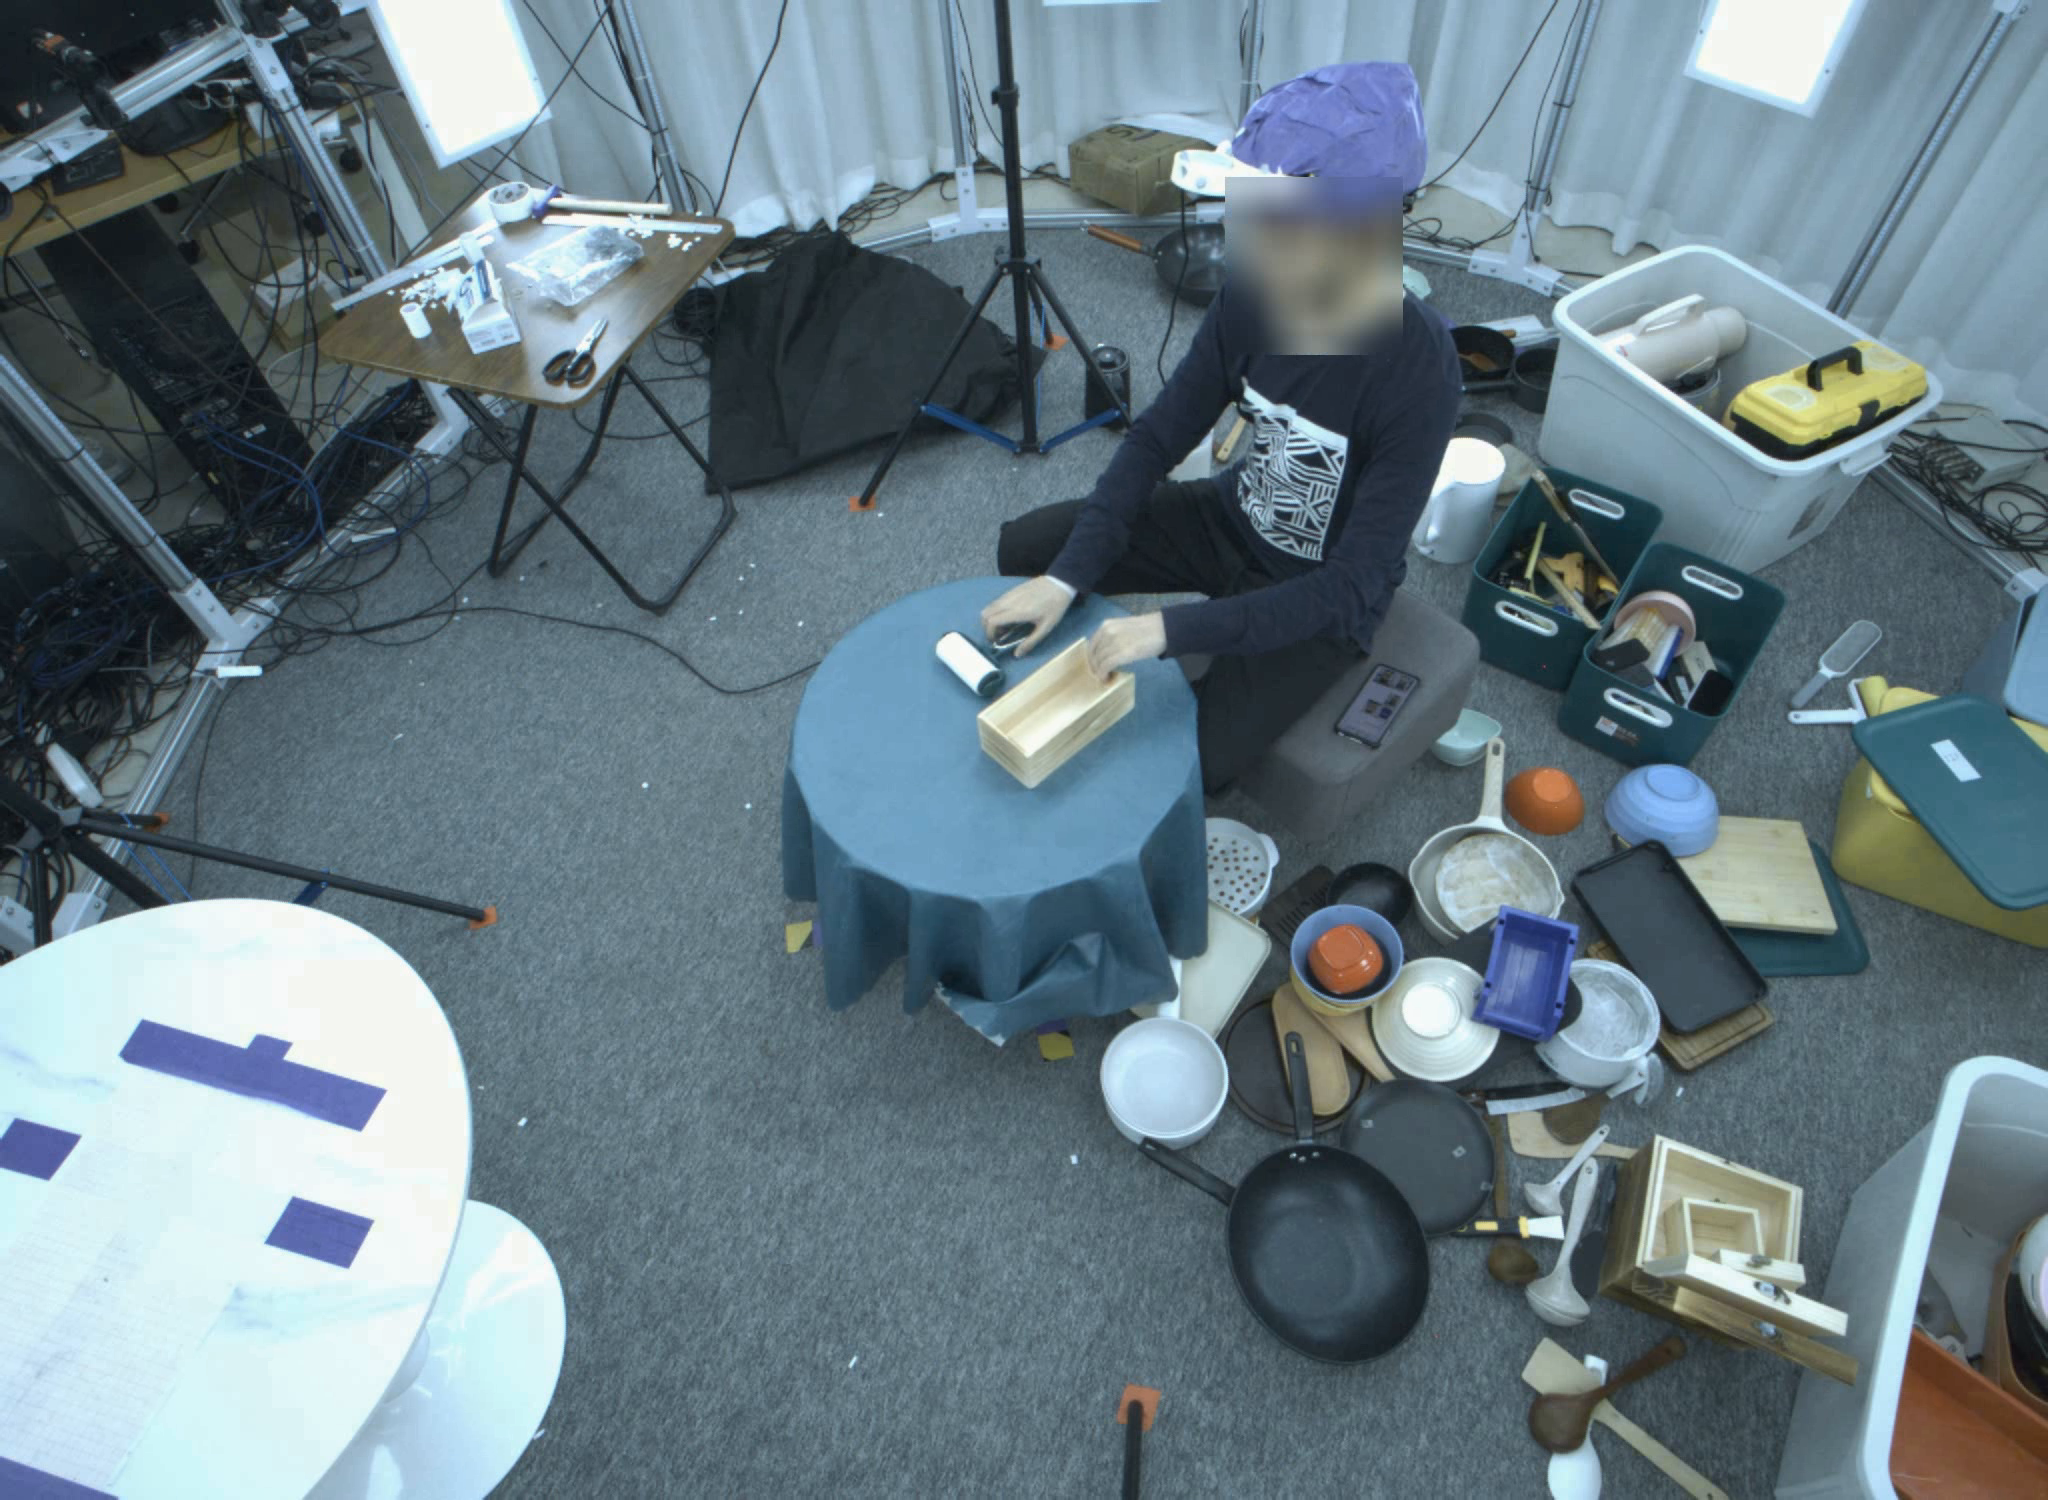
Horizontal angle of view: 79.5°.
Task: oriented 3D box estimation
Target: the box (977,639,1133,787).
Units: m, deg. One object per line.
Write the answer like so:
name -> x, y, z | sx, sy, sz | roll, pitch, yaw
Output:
box -> 0.047, -0.056, 1.785 | 0.213, 0.081, 0.105 | -38, 60, -24

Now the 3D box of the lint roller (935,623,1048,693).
lint roller -> -0.034, -0.165, 1.891 | 0.182, 0.049, 0.132 | -32, 59, -25
